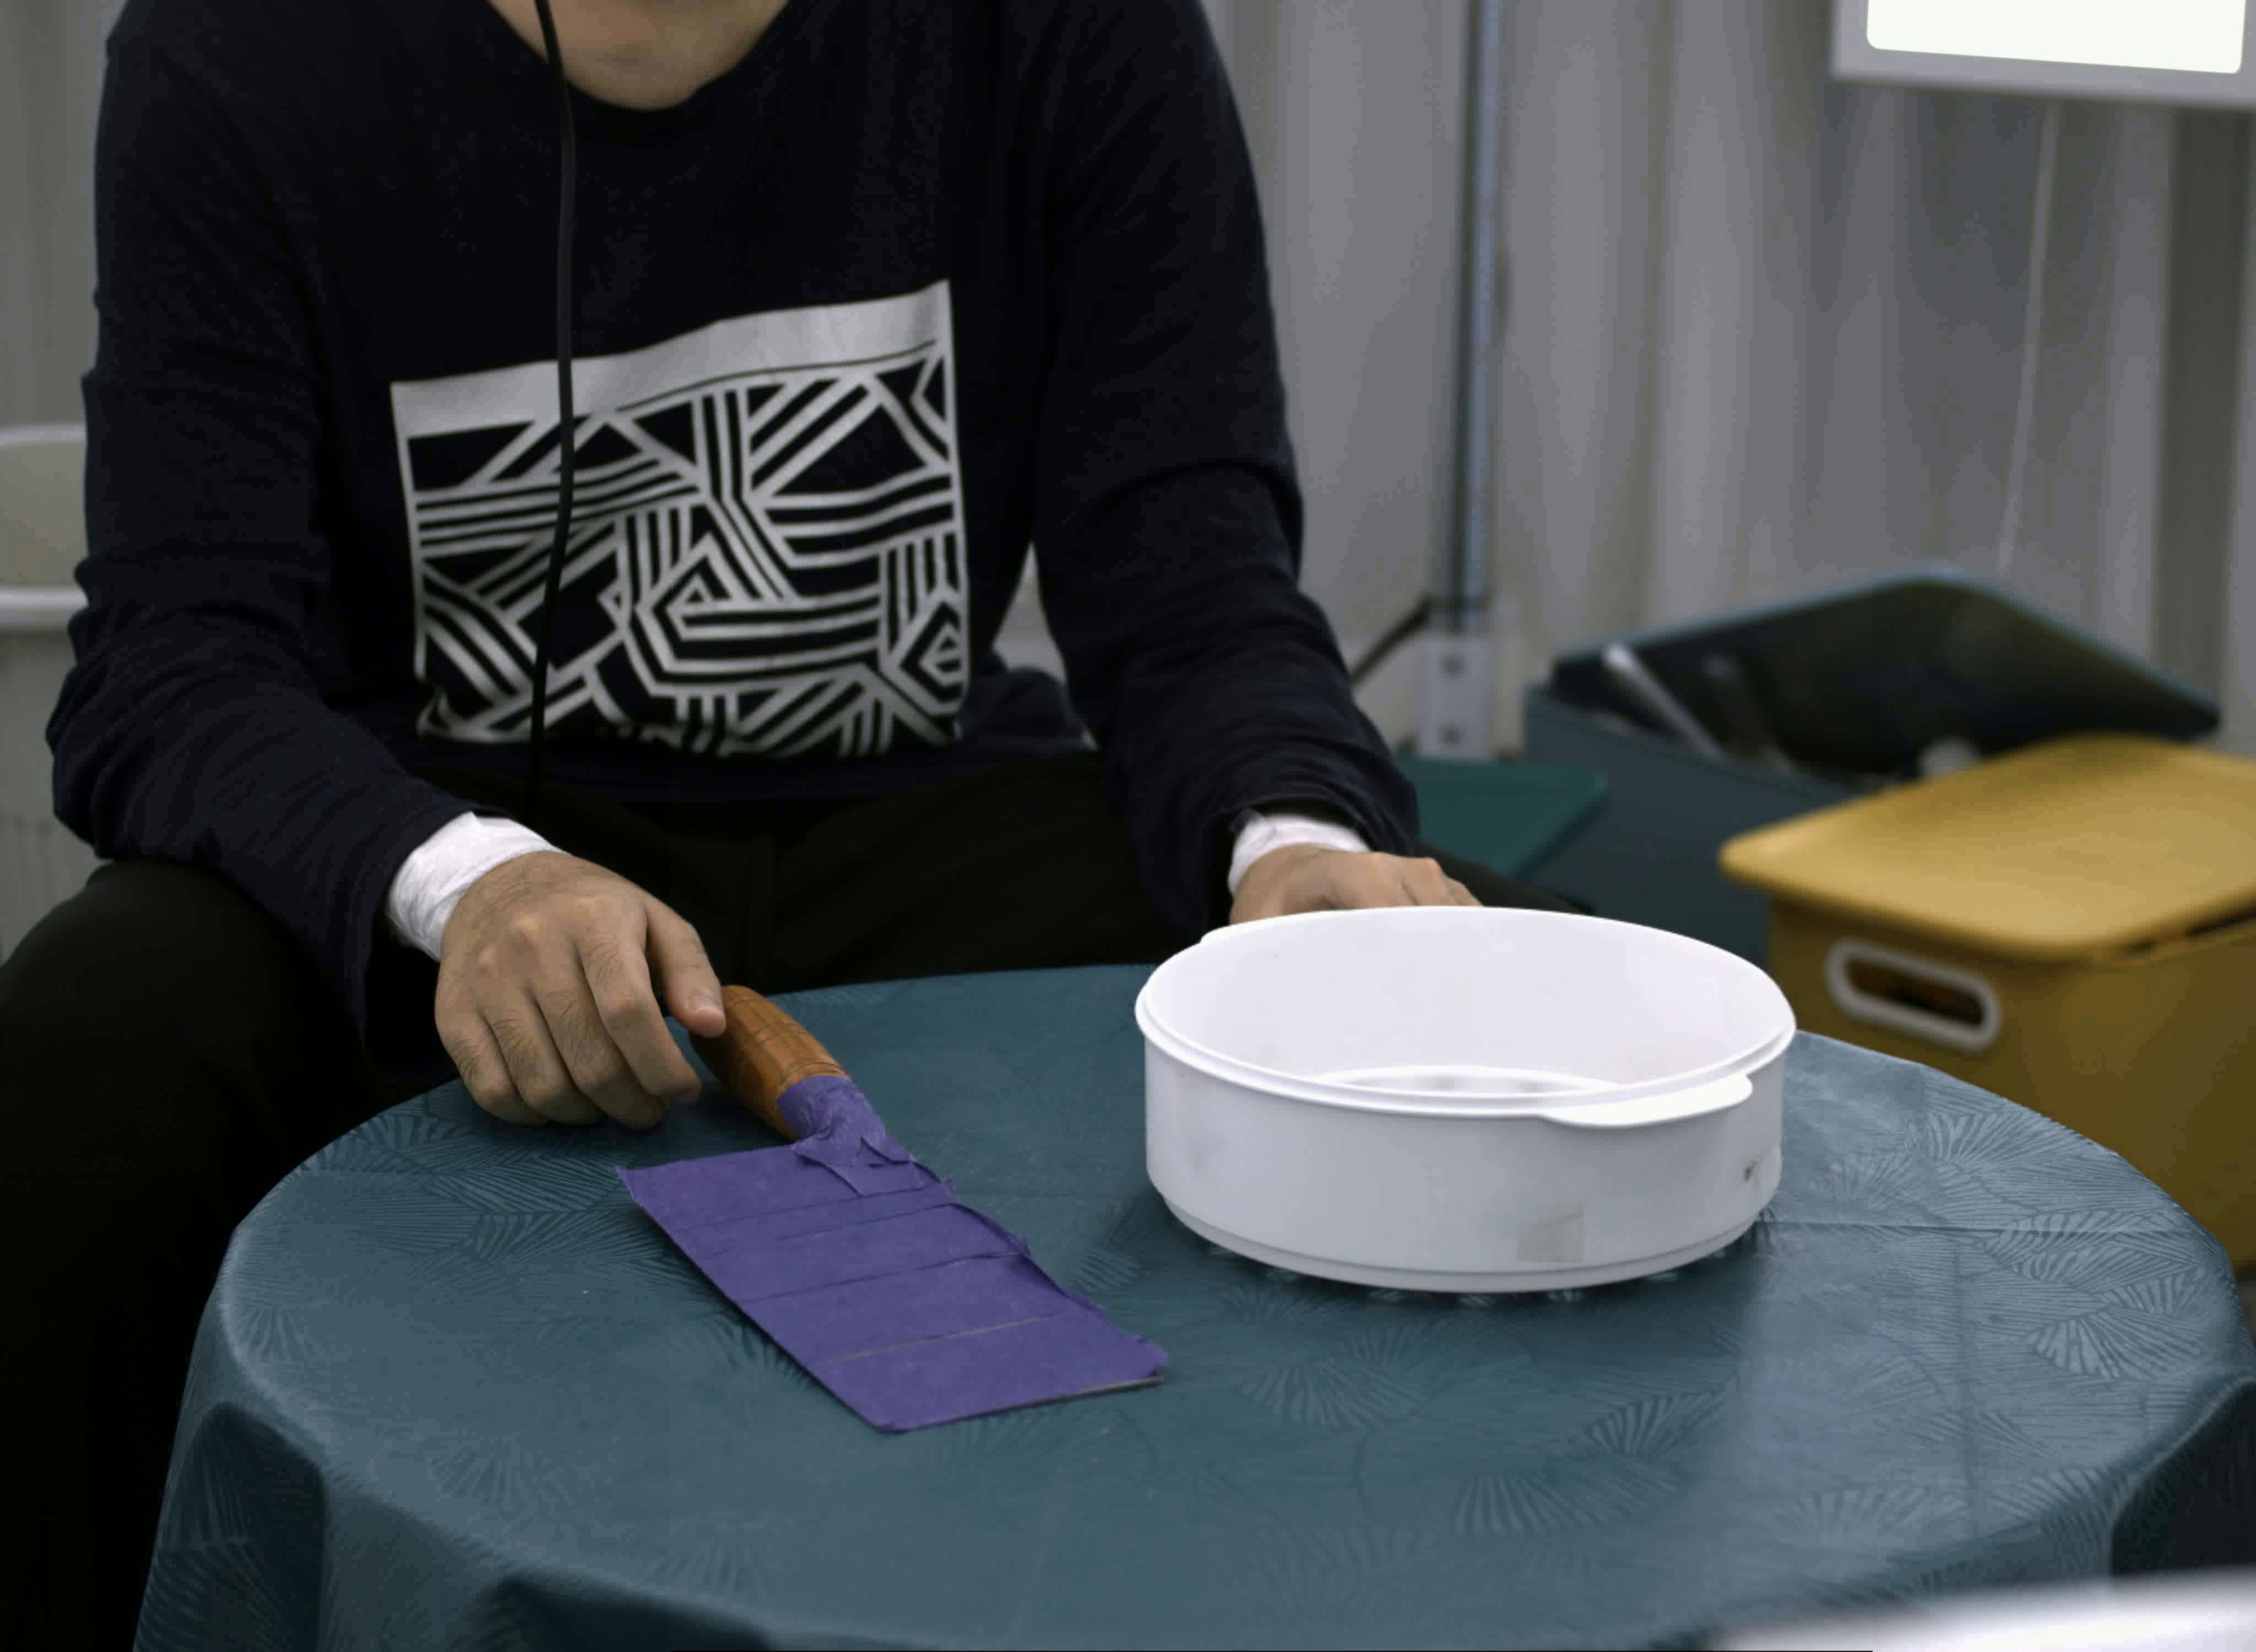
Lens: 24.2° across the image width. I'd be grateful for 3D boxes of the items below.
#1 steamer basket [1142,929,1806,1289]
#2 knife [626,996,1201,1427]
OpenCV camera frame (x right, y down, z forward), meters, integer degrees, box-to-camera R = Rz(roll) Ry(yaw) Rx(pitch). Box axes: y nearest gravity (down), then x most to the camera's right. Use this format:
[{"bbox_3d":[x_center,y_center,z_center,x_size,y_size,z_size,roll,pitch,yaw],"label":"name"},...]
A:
[{"bbox_3d":[0.105,0.086,1.603,0.203,0.070,0.228,-7,14,-29],"label":"steamer basket"},{"bbox_3d":[-0.093,0.111,1.576,0.104,0.032,0.311,-7,17,-26],"label":"knife"}]
